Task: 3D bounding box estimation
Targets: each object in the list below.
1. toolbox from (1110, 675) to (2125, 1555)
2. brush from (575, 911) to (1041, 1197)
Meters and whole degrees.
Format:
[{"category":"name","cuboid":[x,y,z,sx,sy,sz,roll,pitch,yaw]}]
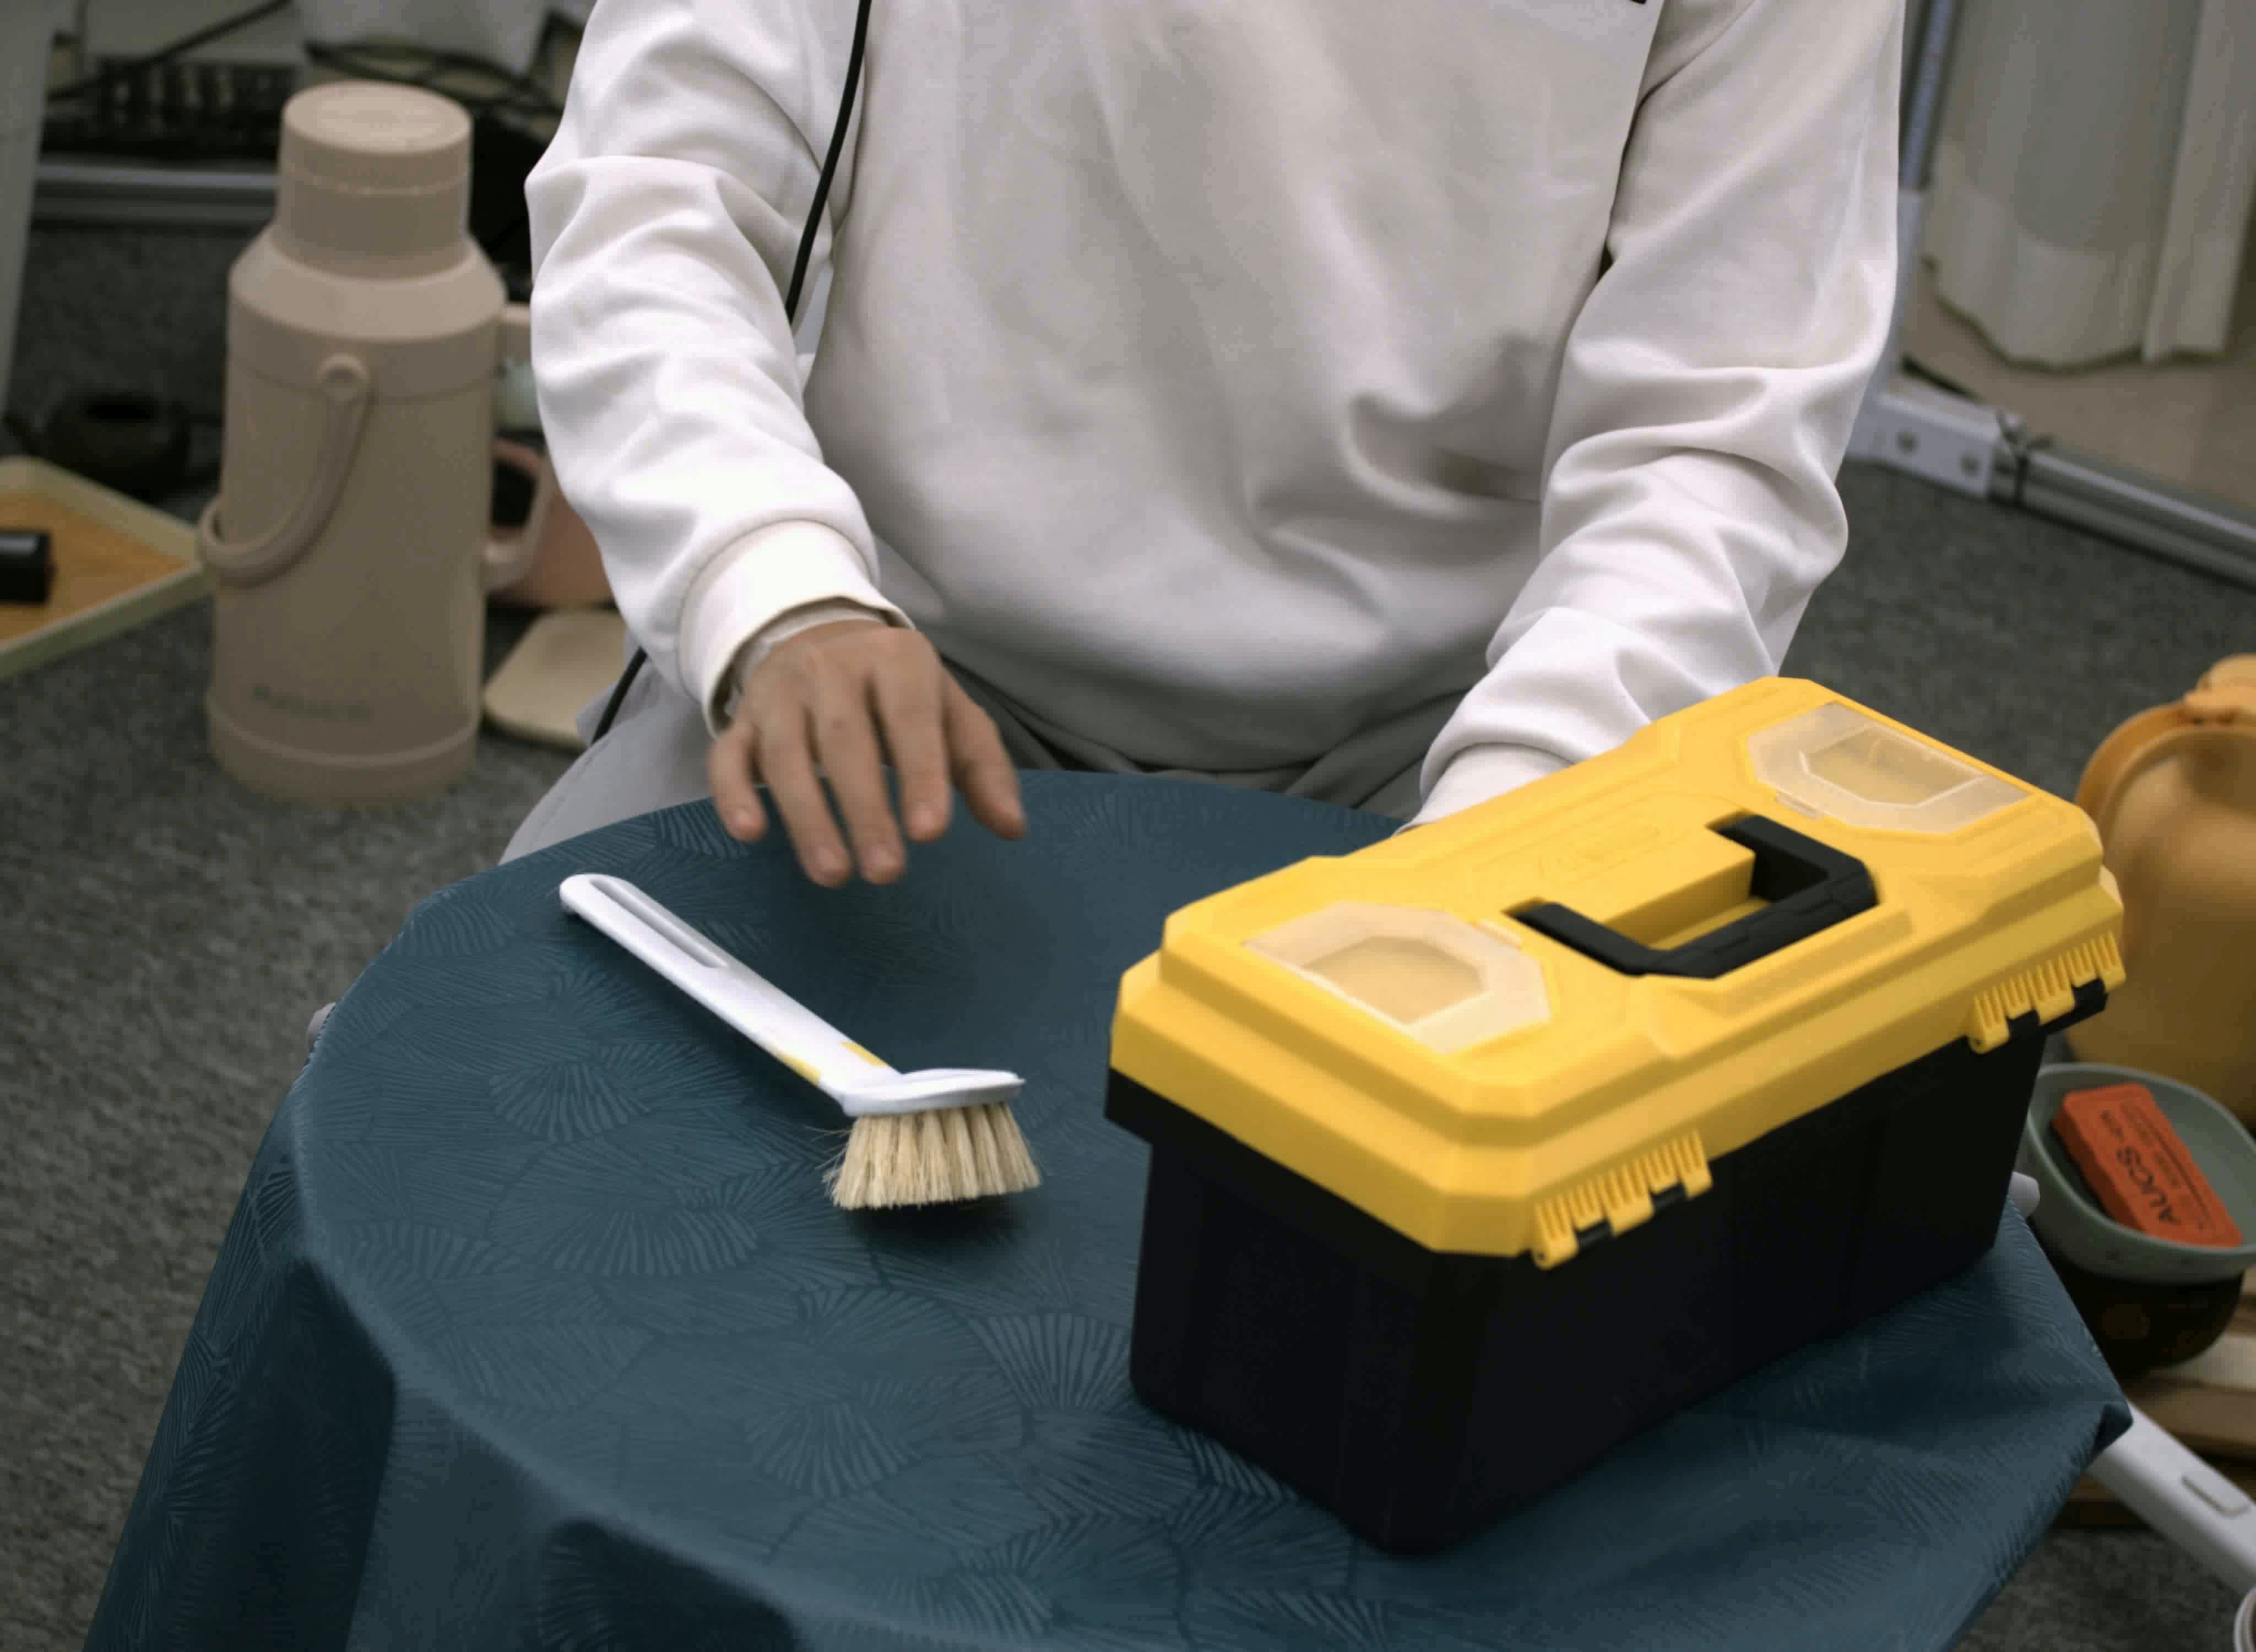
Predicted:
[{"category":"toolbox","cuboid":[0.156,0.087,1.724,0.182,0.172,0.350,29,34,35]},{"category":"brush","cuboid":[-0.120,0.081,1.849,0.068,0.056,0.268,14,1,-39]}]
